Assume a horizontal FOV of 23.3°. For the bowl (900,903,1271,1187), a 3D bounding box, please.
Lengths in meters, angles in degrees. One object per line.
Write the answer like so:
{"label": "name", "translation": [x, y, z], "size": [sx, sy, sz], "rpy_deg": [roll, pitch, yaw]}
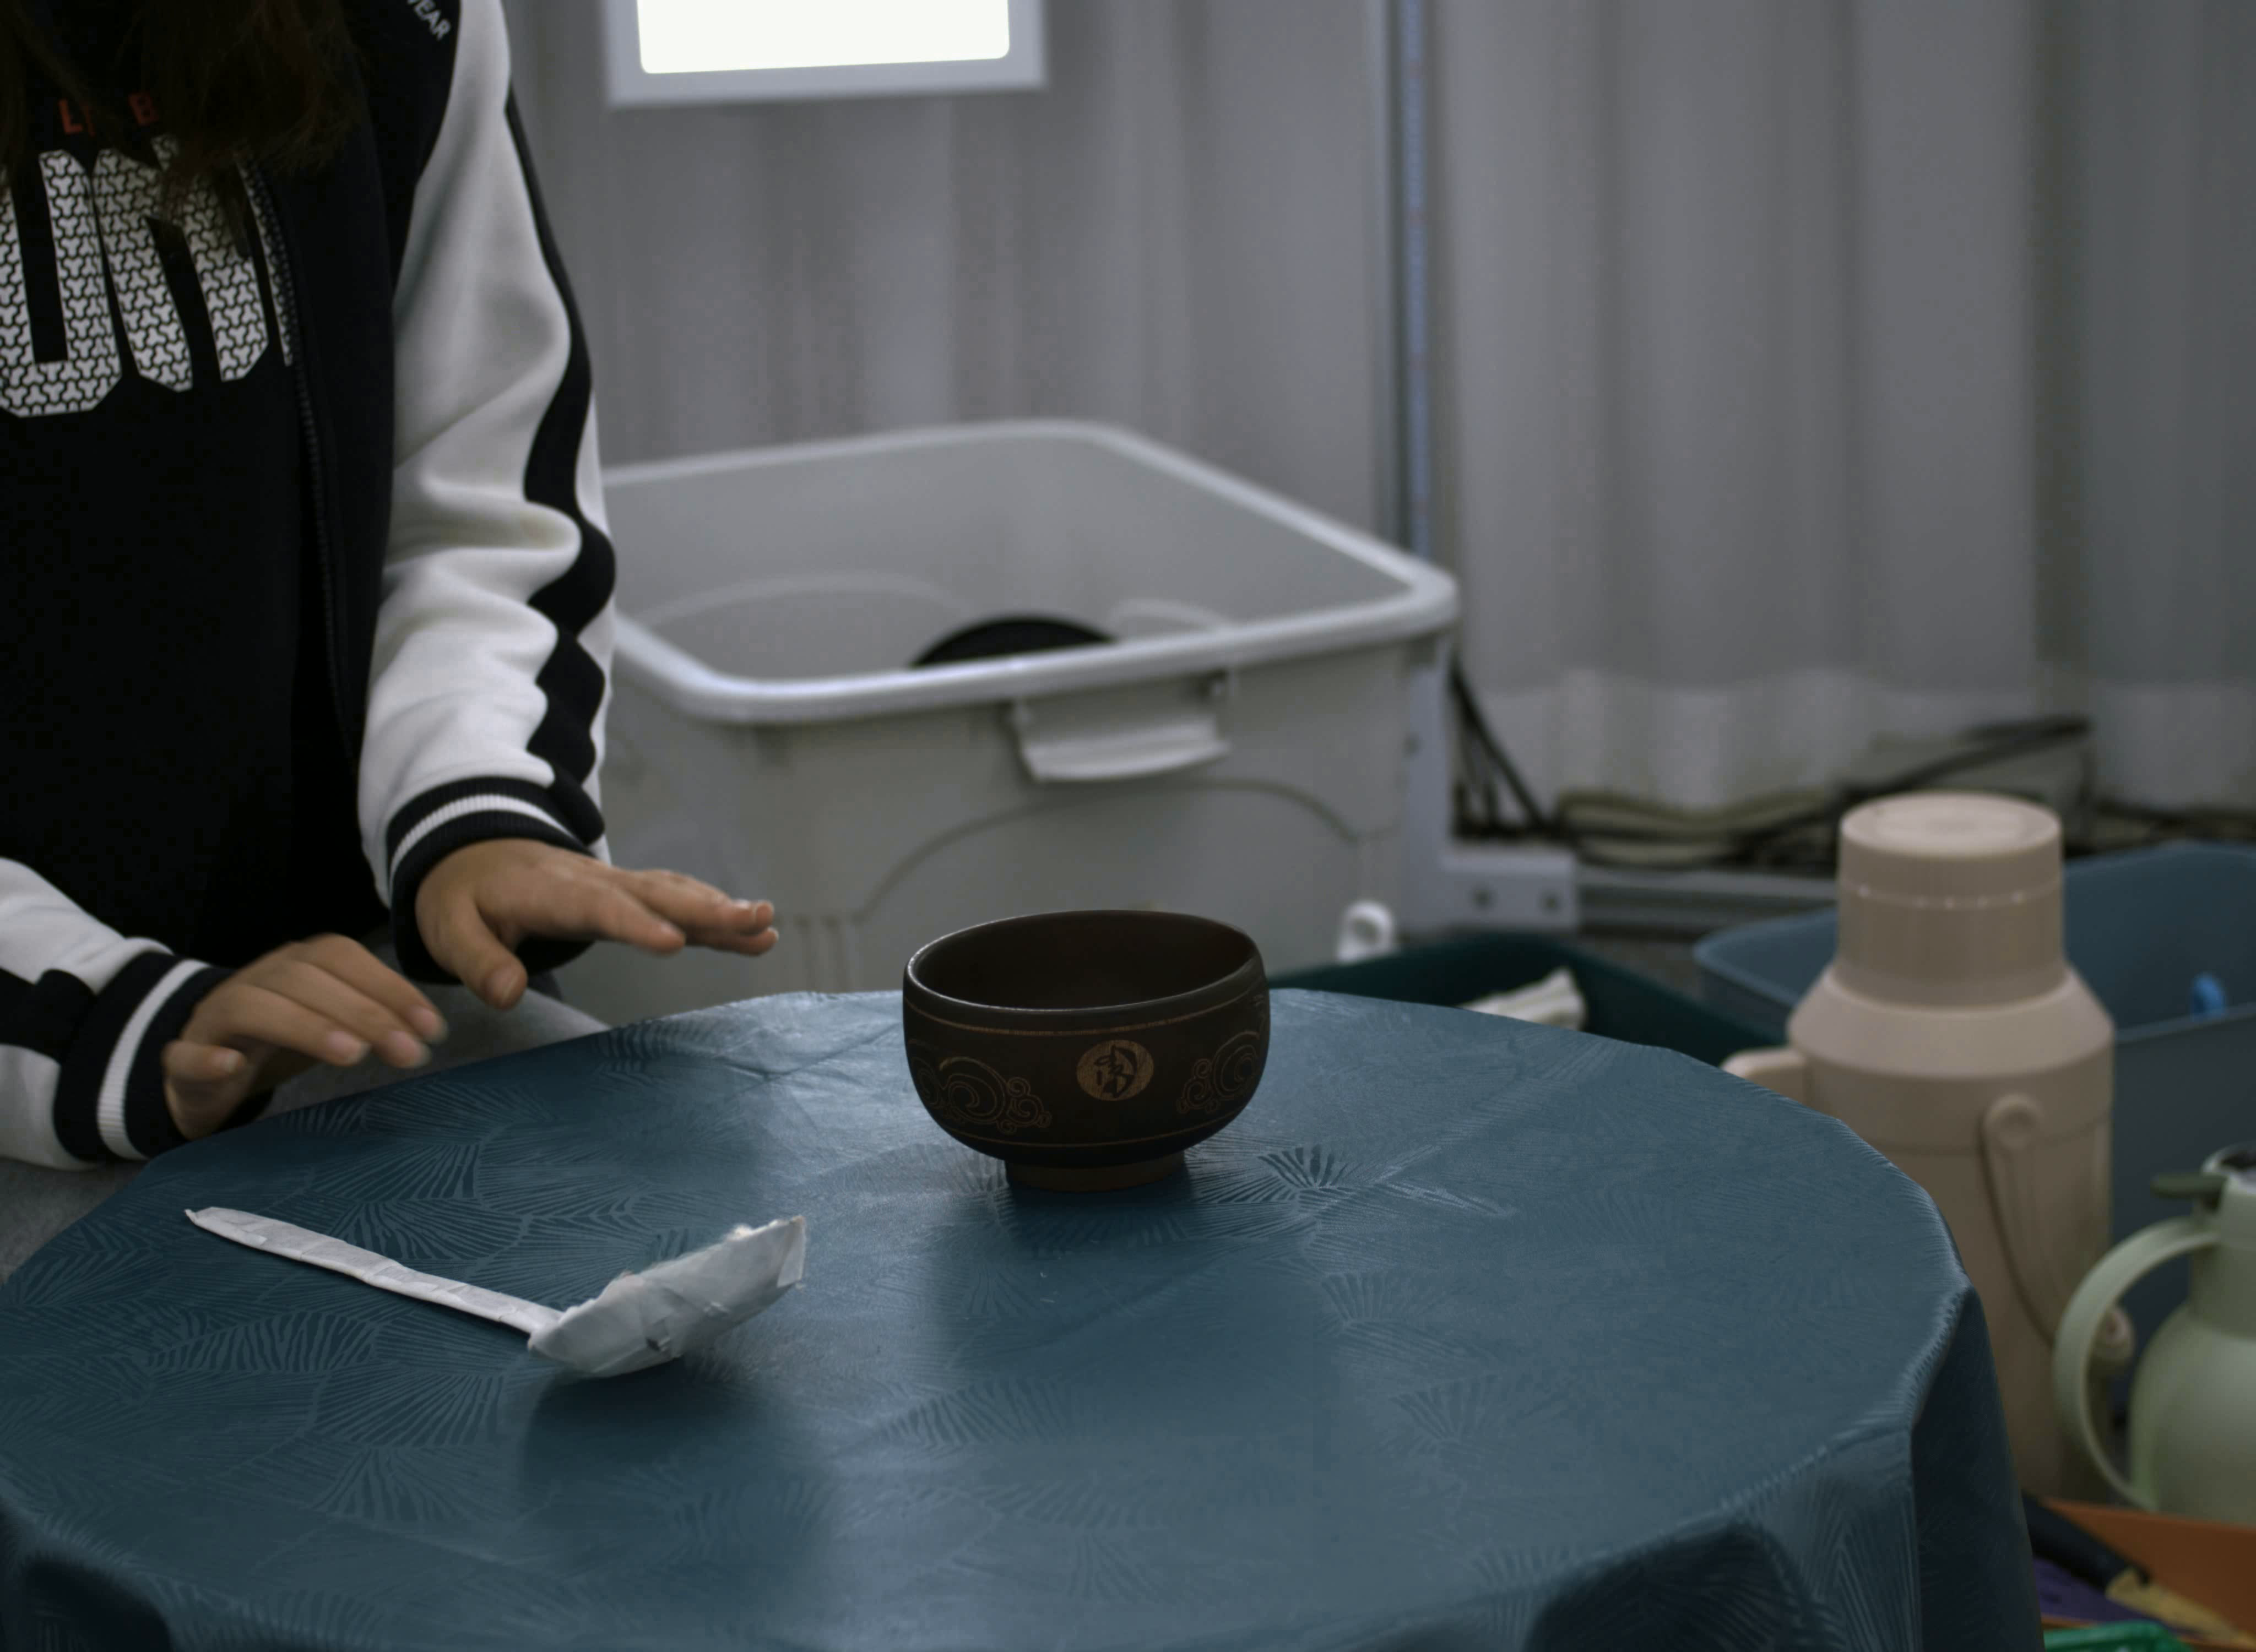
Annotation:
{"label": "bowl", "translation": [-0.013, 0.073, 1.732], "size": [0.117, 0.069, 0.119], "rpy_deg": [-3, 14, 0]}

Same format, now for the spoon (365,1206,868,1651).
{"label": "spoon", "translation": [-0.174, 0.215, 1.585], "size": [0.060, 0.277, 0.100], "rpy_deg": [36, 8, 24]}
